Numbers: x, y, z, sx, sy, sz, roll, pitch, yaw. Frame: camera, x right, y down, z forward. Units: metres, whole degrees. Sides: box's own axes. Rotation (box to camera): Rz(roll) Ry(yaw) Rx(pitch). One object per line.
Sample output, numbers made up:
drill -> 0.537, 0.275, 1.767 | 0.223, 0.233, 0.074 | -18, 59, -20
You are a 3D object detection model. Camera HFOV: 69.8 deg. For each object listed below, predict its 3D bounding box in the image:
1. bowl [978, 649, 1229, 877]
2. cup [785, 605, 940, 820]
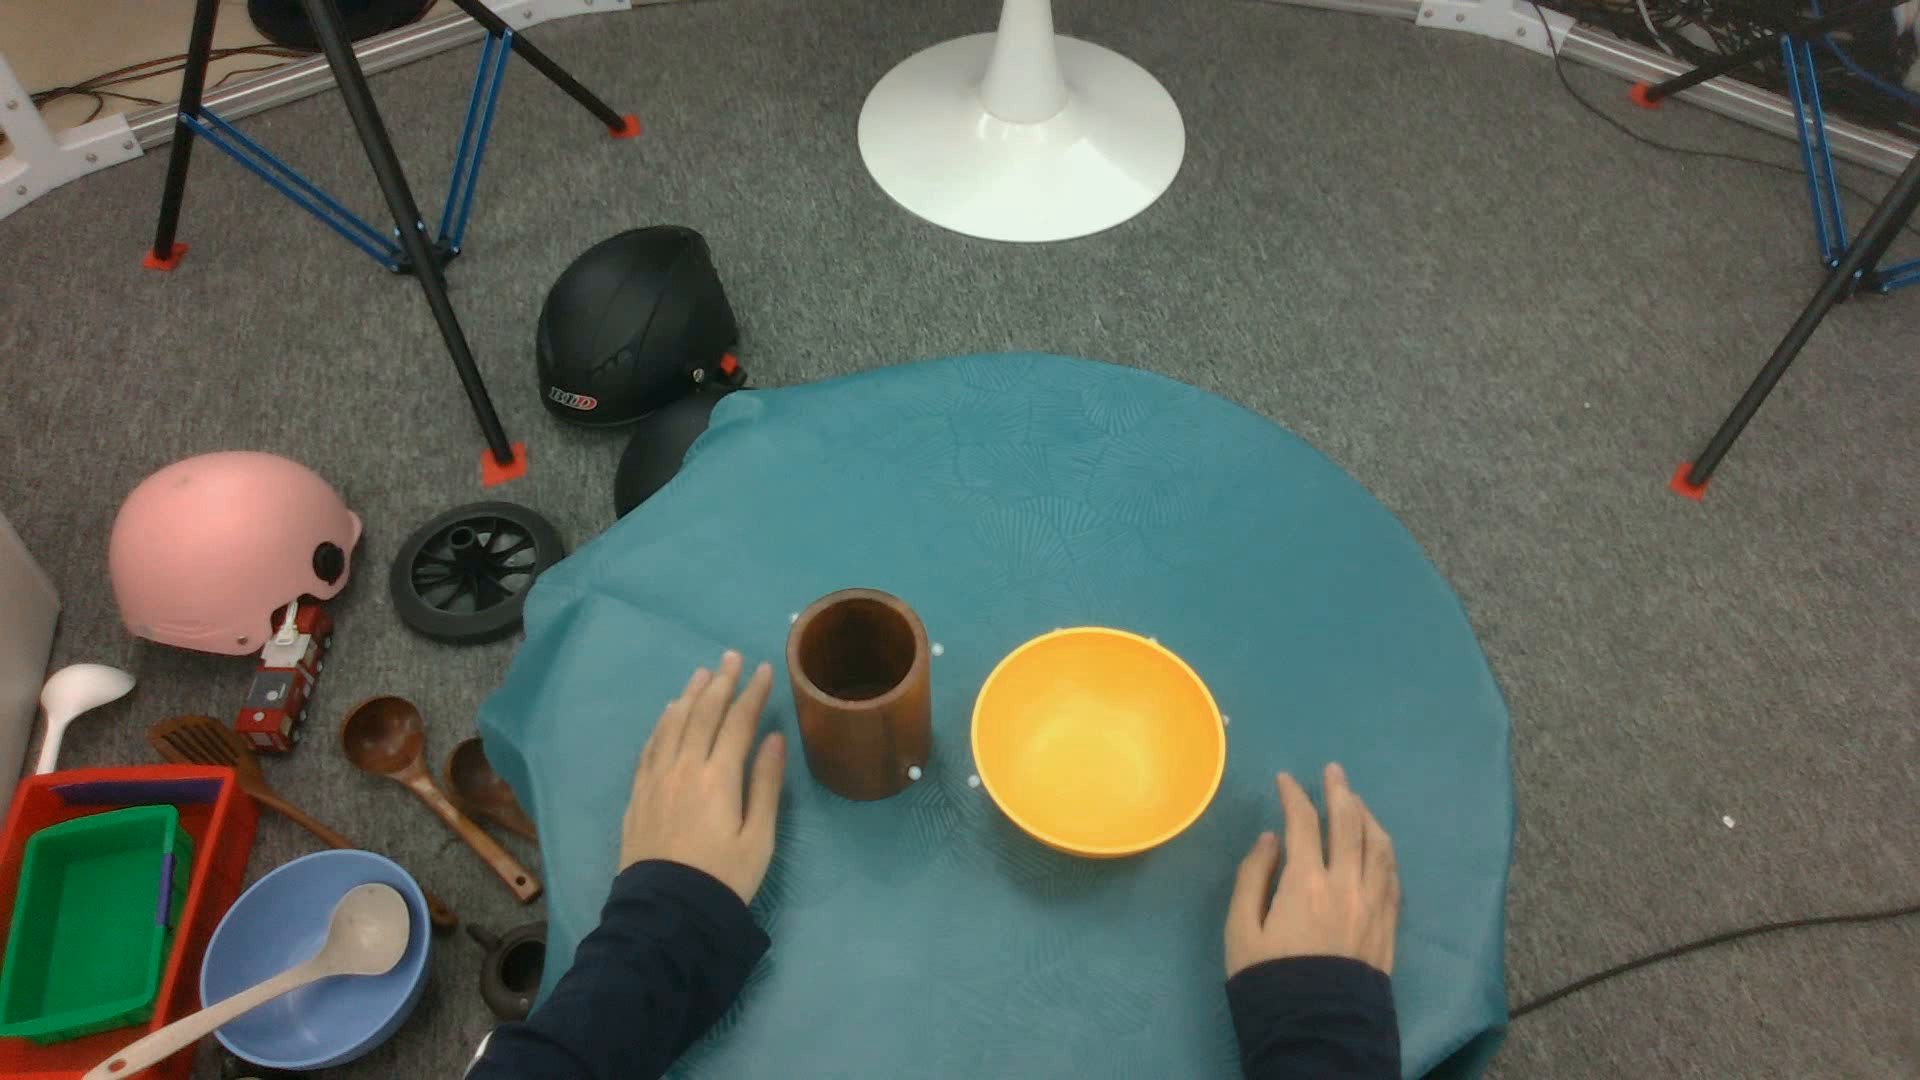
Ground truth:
bowl -> 0.084, 0.140, 0.818 | 0.145, 0.060, 0.146 | -1, 54, 1
cup -> -0.052, 0.104, 0.808 | 0.088, 0.118, 0.088 | -1, 53, 2
